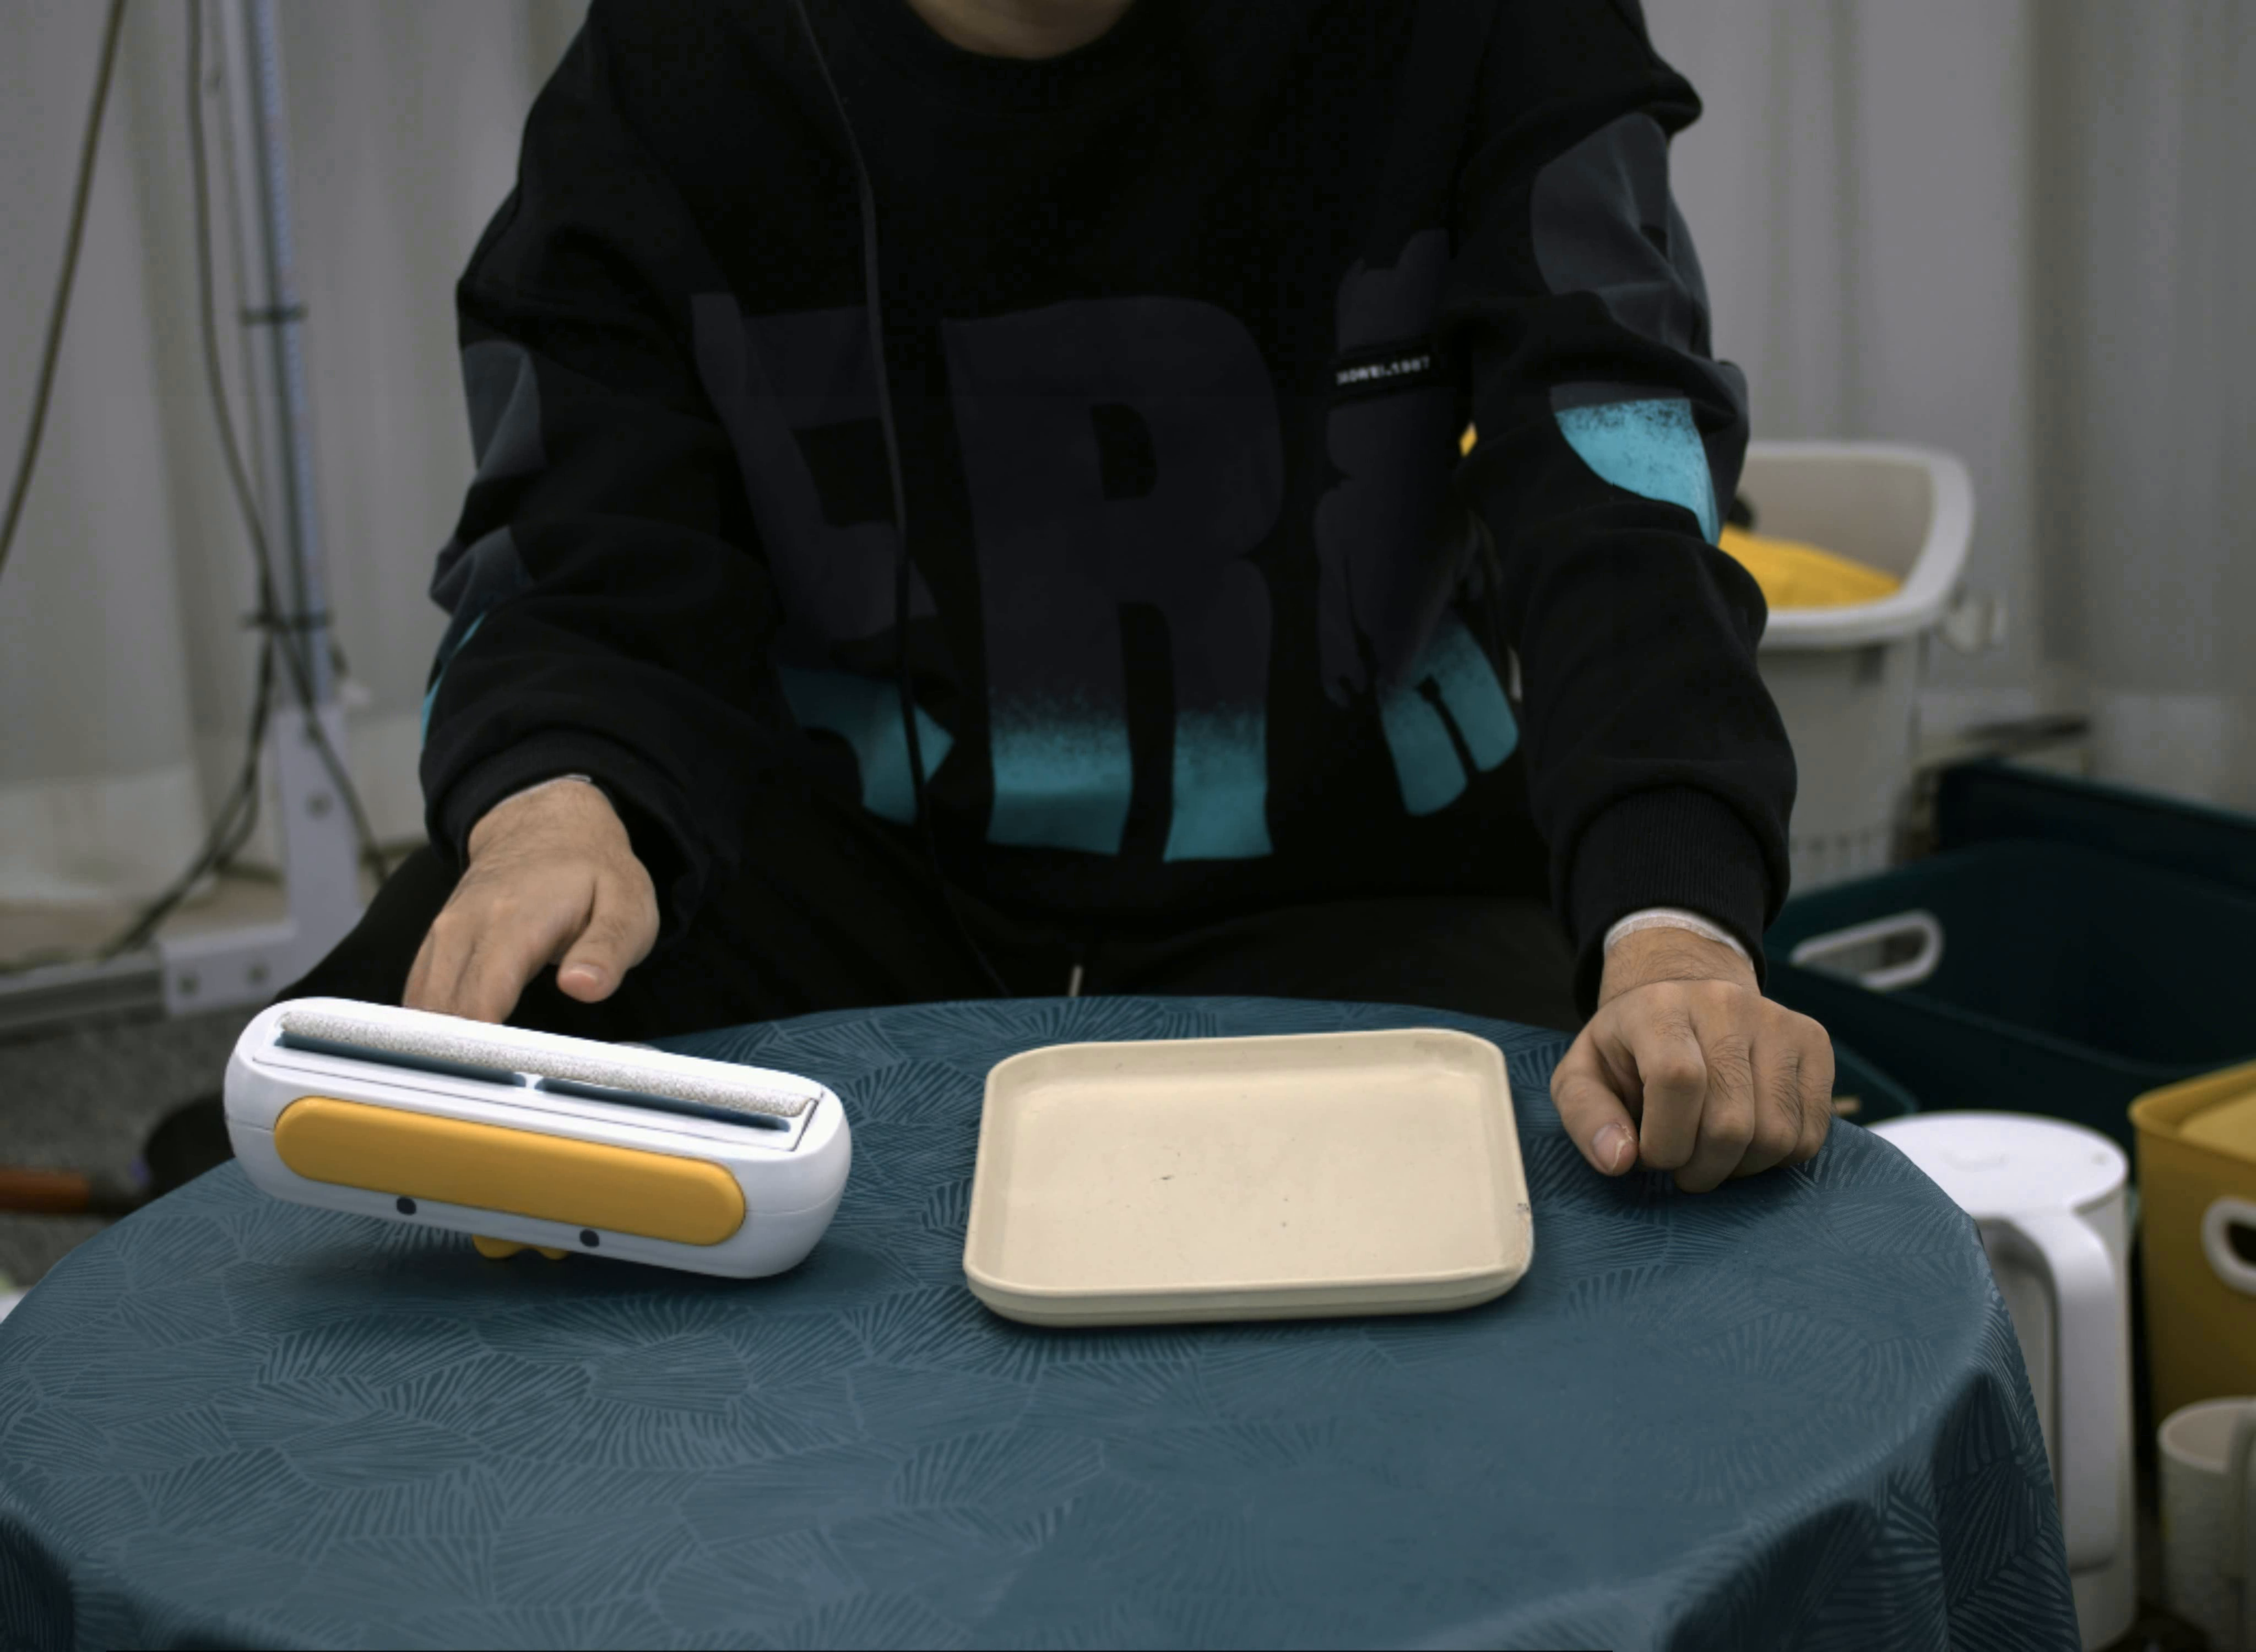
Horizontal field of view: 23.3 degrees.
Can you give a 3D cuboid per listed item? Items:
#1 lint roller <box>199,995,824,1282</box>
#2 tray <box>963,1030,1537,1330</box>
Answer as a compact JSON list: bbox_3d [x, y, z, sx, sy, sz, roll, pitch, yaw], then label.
[{"bbox_3d":[-0.175,0.087,1.724,0.193,0.074,0.193,6,15,12],"label":"lint roller"},{"bbox_3d":[0.037,0.109,1.696,0.171,0.017,0.241,-3,15,2],"label":"tray"}]
